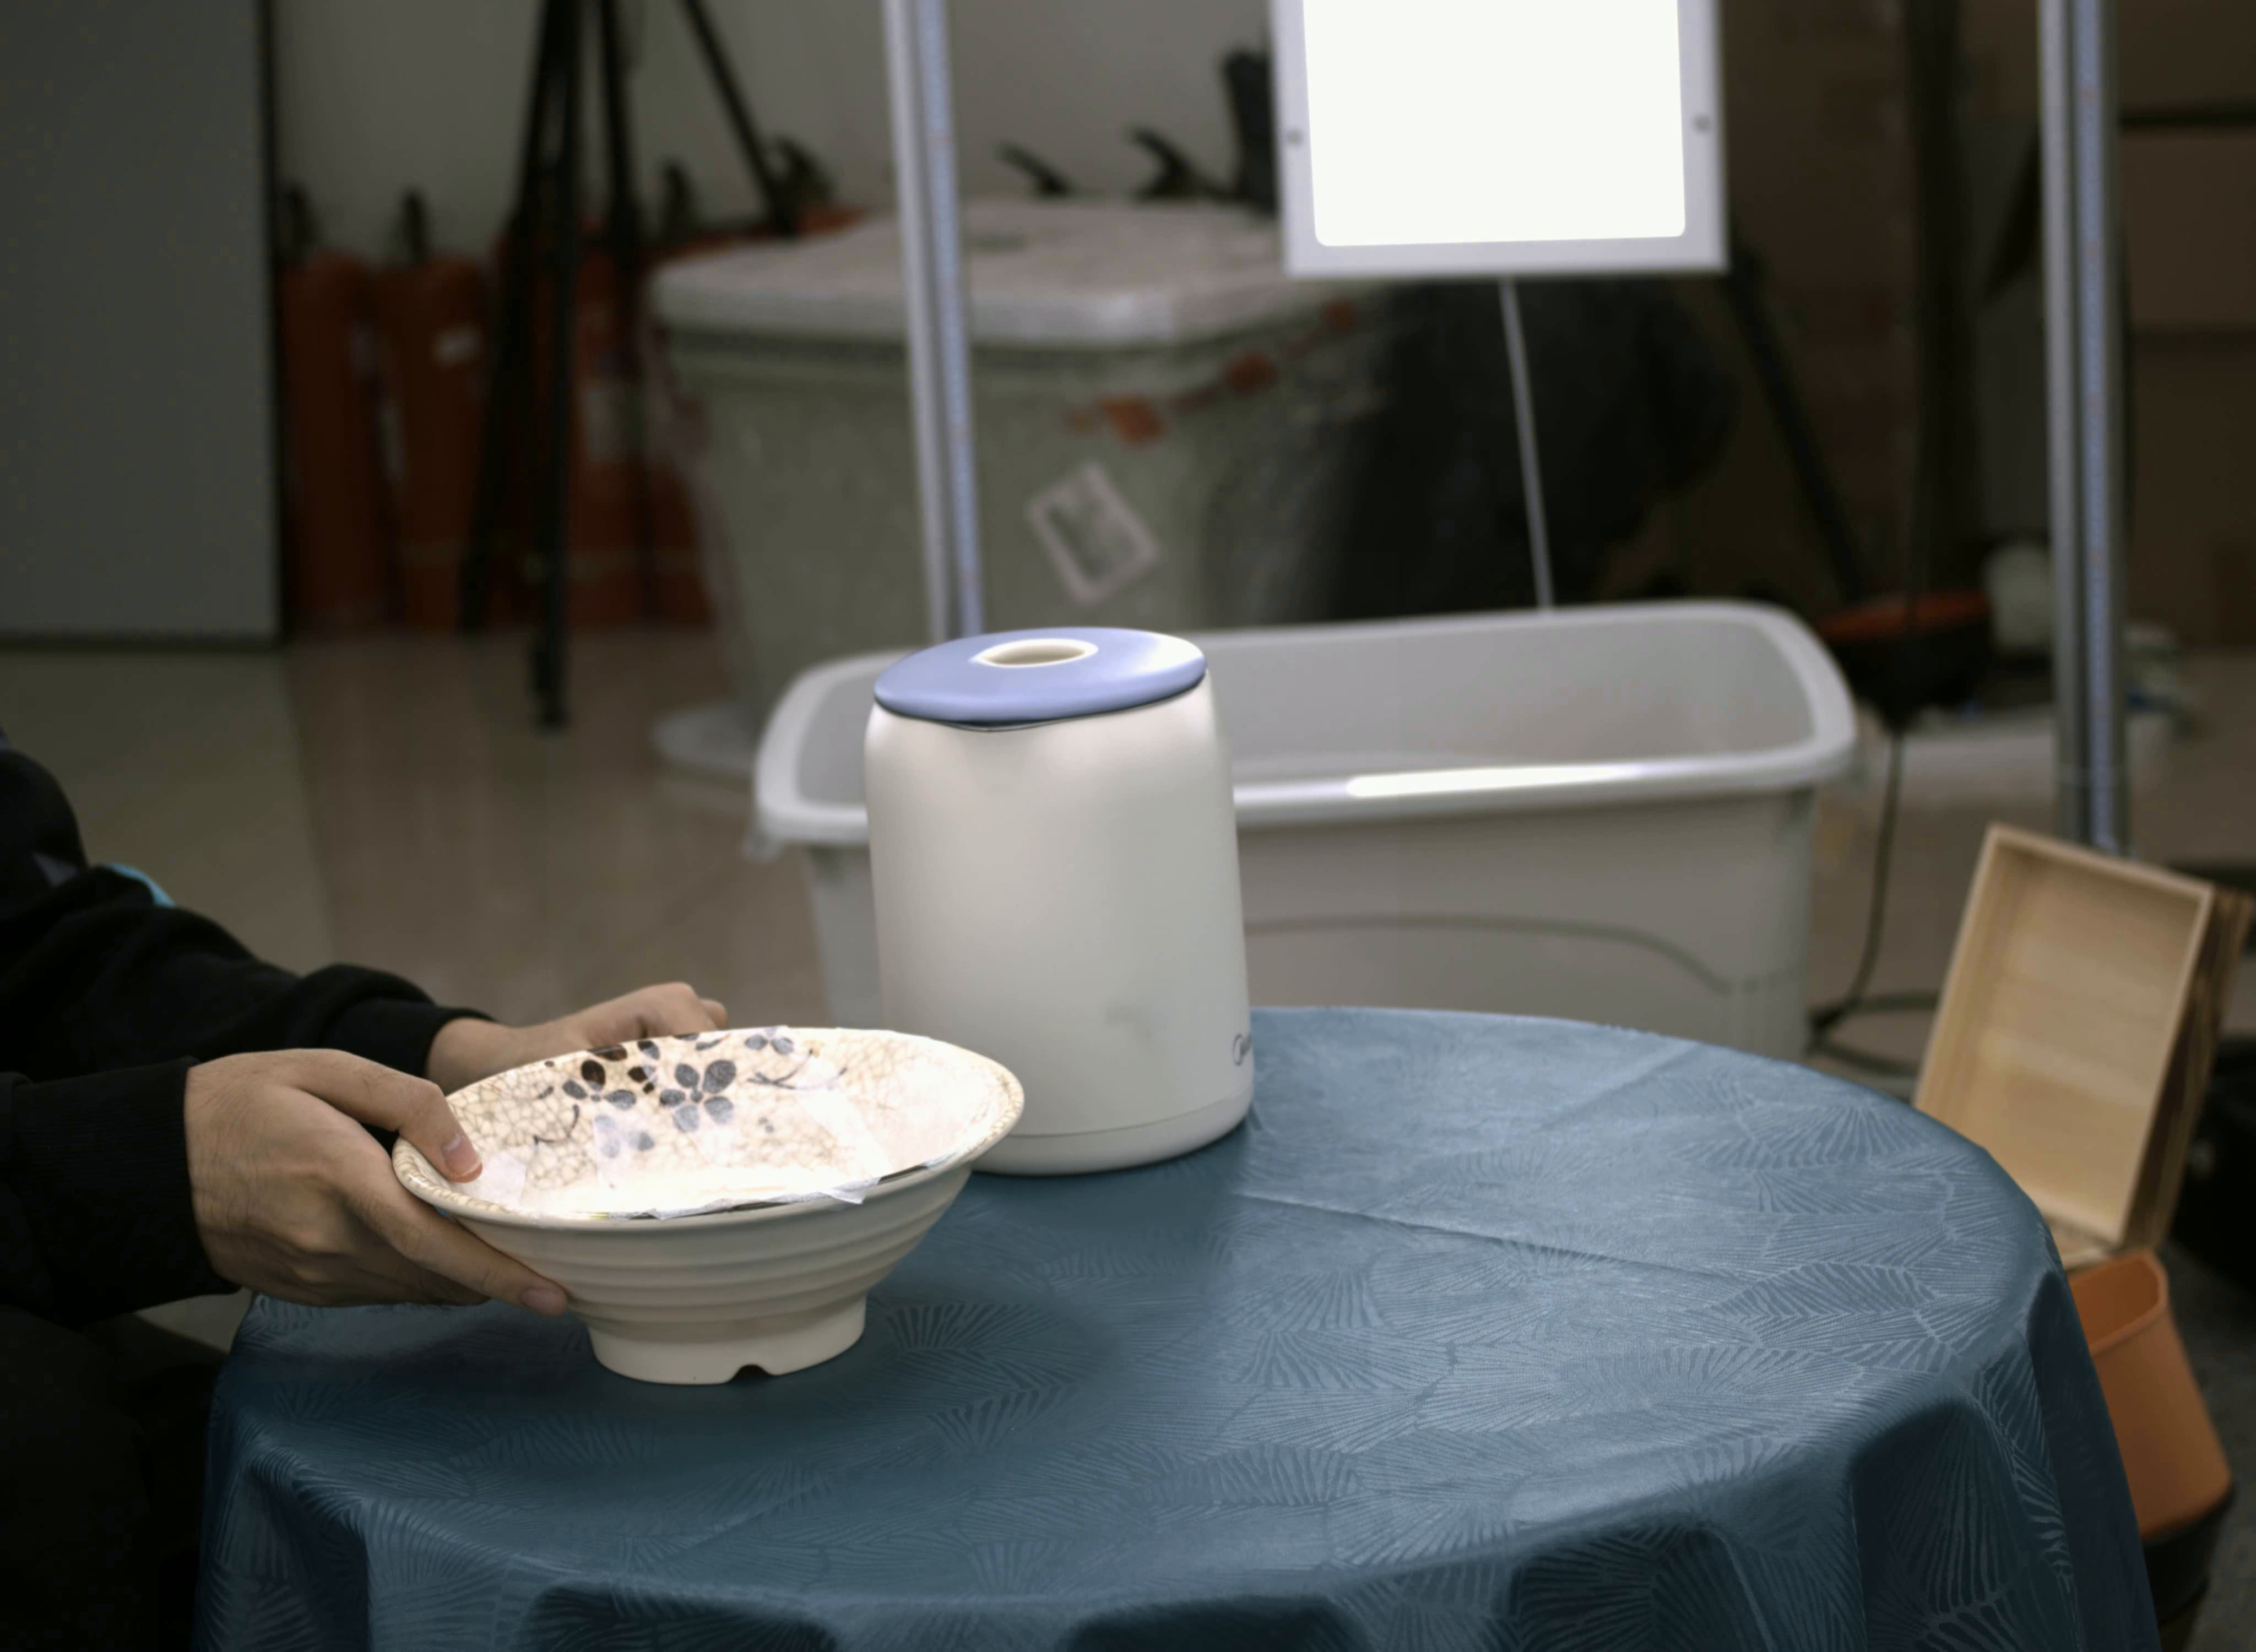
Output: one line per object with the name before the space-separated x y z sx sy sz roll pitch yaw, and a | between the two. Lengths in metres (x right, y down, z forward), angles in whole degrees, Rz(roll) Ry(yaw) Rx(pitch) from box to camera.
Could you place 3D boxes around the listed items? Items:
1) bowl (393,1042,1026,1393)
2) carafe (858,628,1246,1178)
bowl | -0.129 0.131 1.768 0.203 0.078 0.204 -7 12 0
carafe | -0.022 0.021 1.976 0.133 0.183 0.188 0 12 13
